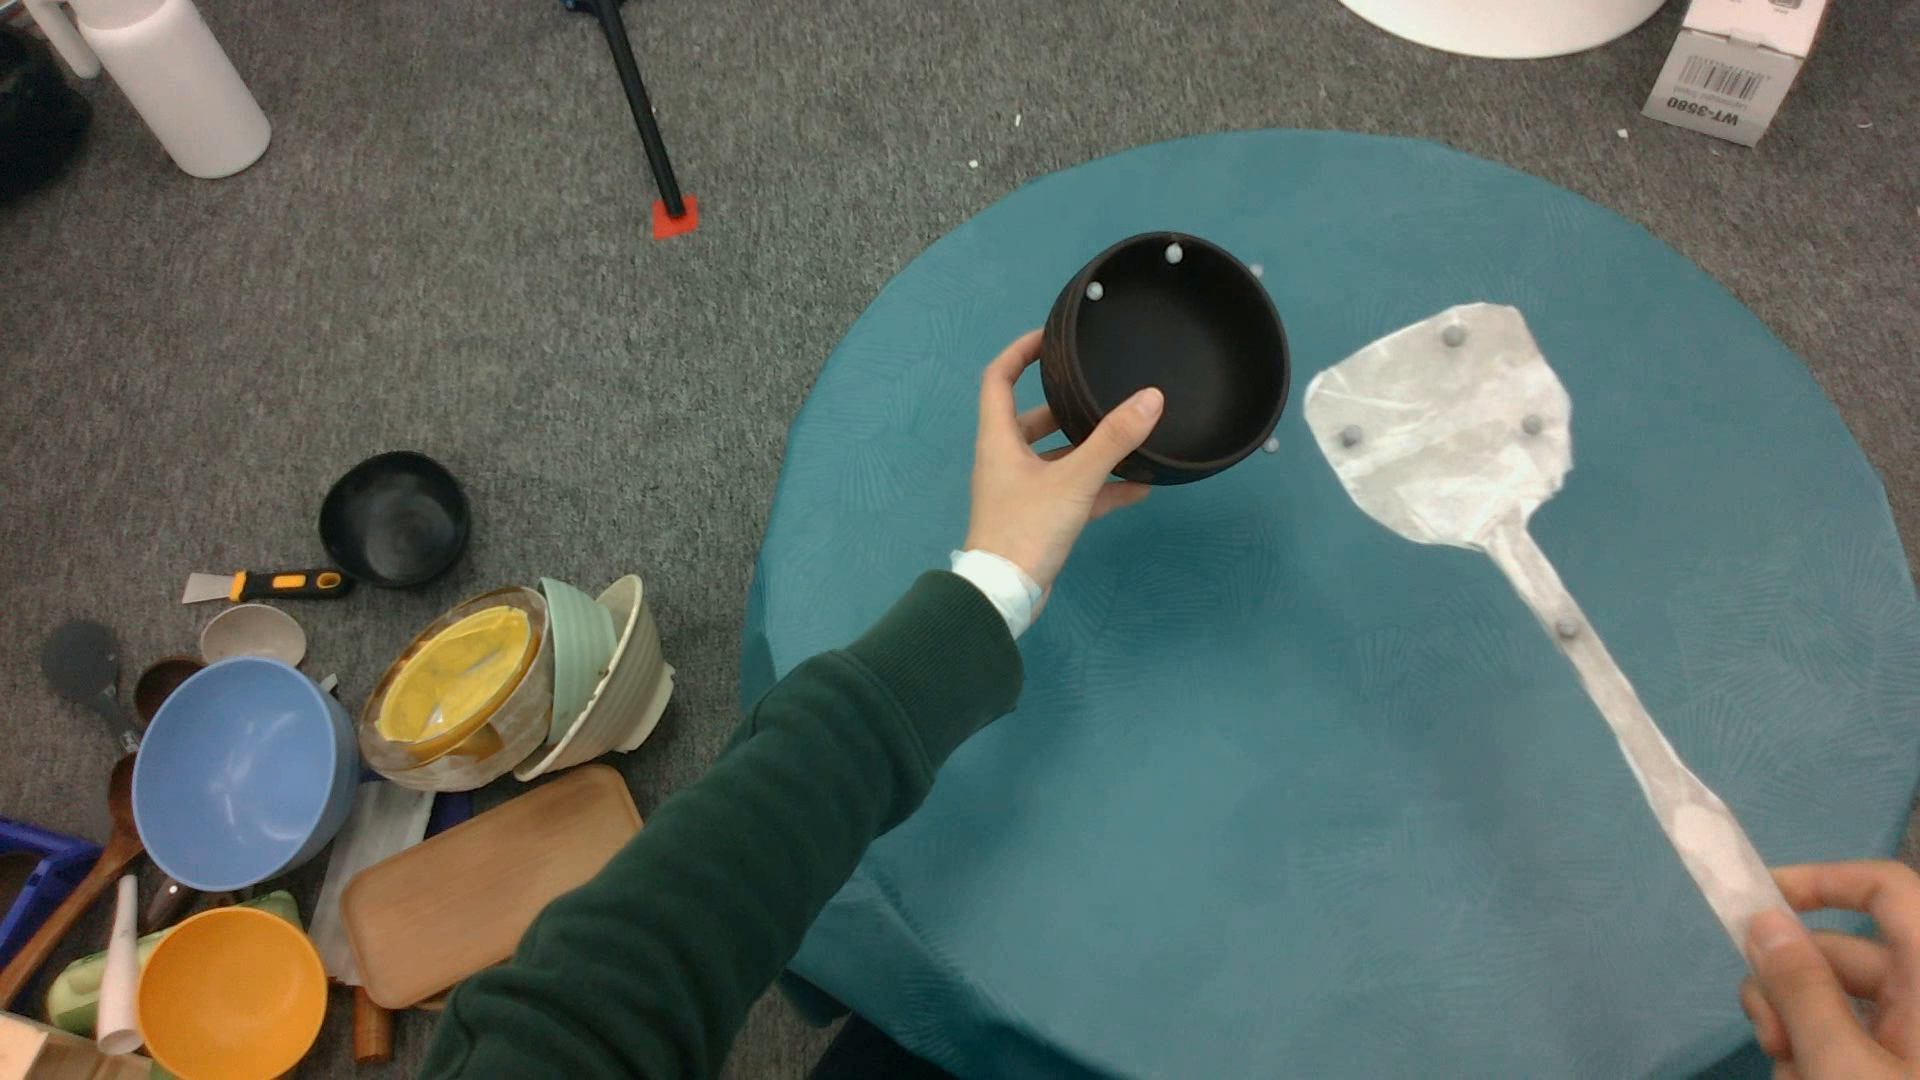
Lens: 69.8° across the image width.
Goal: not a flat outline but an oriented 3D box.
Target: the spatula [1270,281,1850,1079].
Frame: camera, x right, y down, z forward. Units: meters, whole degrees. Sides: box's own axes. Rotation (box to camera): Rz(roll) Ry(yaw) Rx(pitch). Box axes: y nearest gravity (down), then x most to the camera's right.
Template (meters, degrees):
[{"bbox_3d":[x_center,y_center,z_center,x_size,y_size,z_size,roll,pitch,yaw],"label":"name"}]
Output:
[{"bbox_3d":[0.221,0.038,0.511,0.098,0.044,0.366,-22,48,7],"label":"spatula"}]

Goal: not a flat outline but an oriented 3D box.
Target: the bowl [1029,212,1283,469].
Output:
[{"bbox_3d":[0.087,-0.090,0.658,0.118,0.069,0.118,4,79,-18],"label":"bowl"}]
